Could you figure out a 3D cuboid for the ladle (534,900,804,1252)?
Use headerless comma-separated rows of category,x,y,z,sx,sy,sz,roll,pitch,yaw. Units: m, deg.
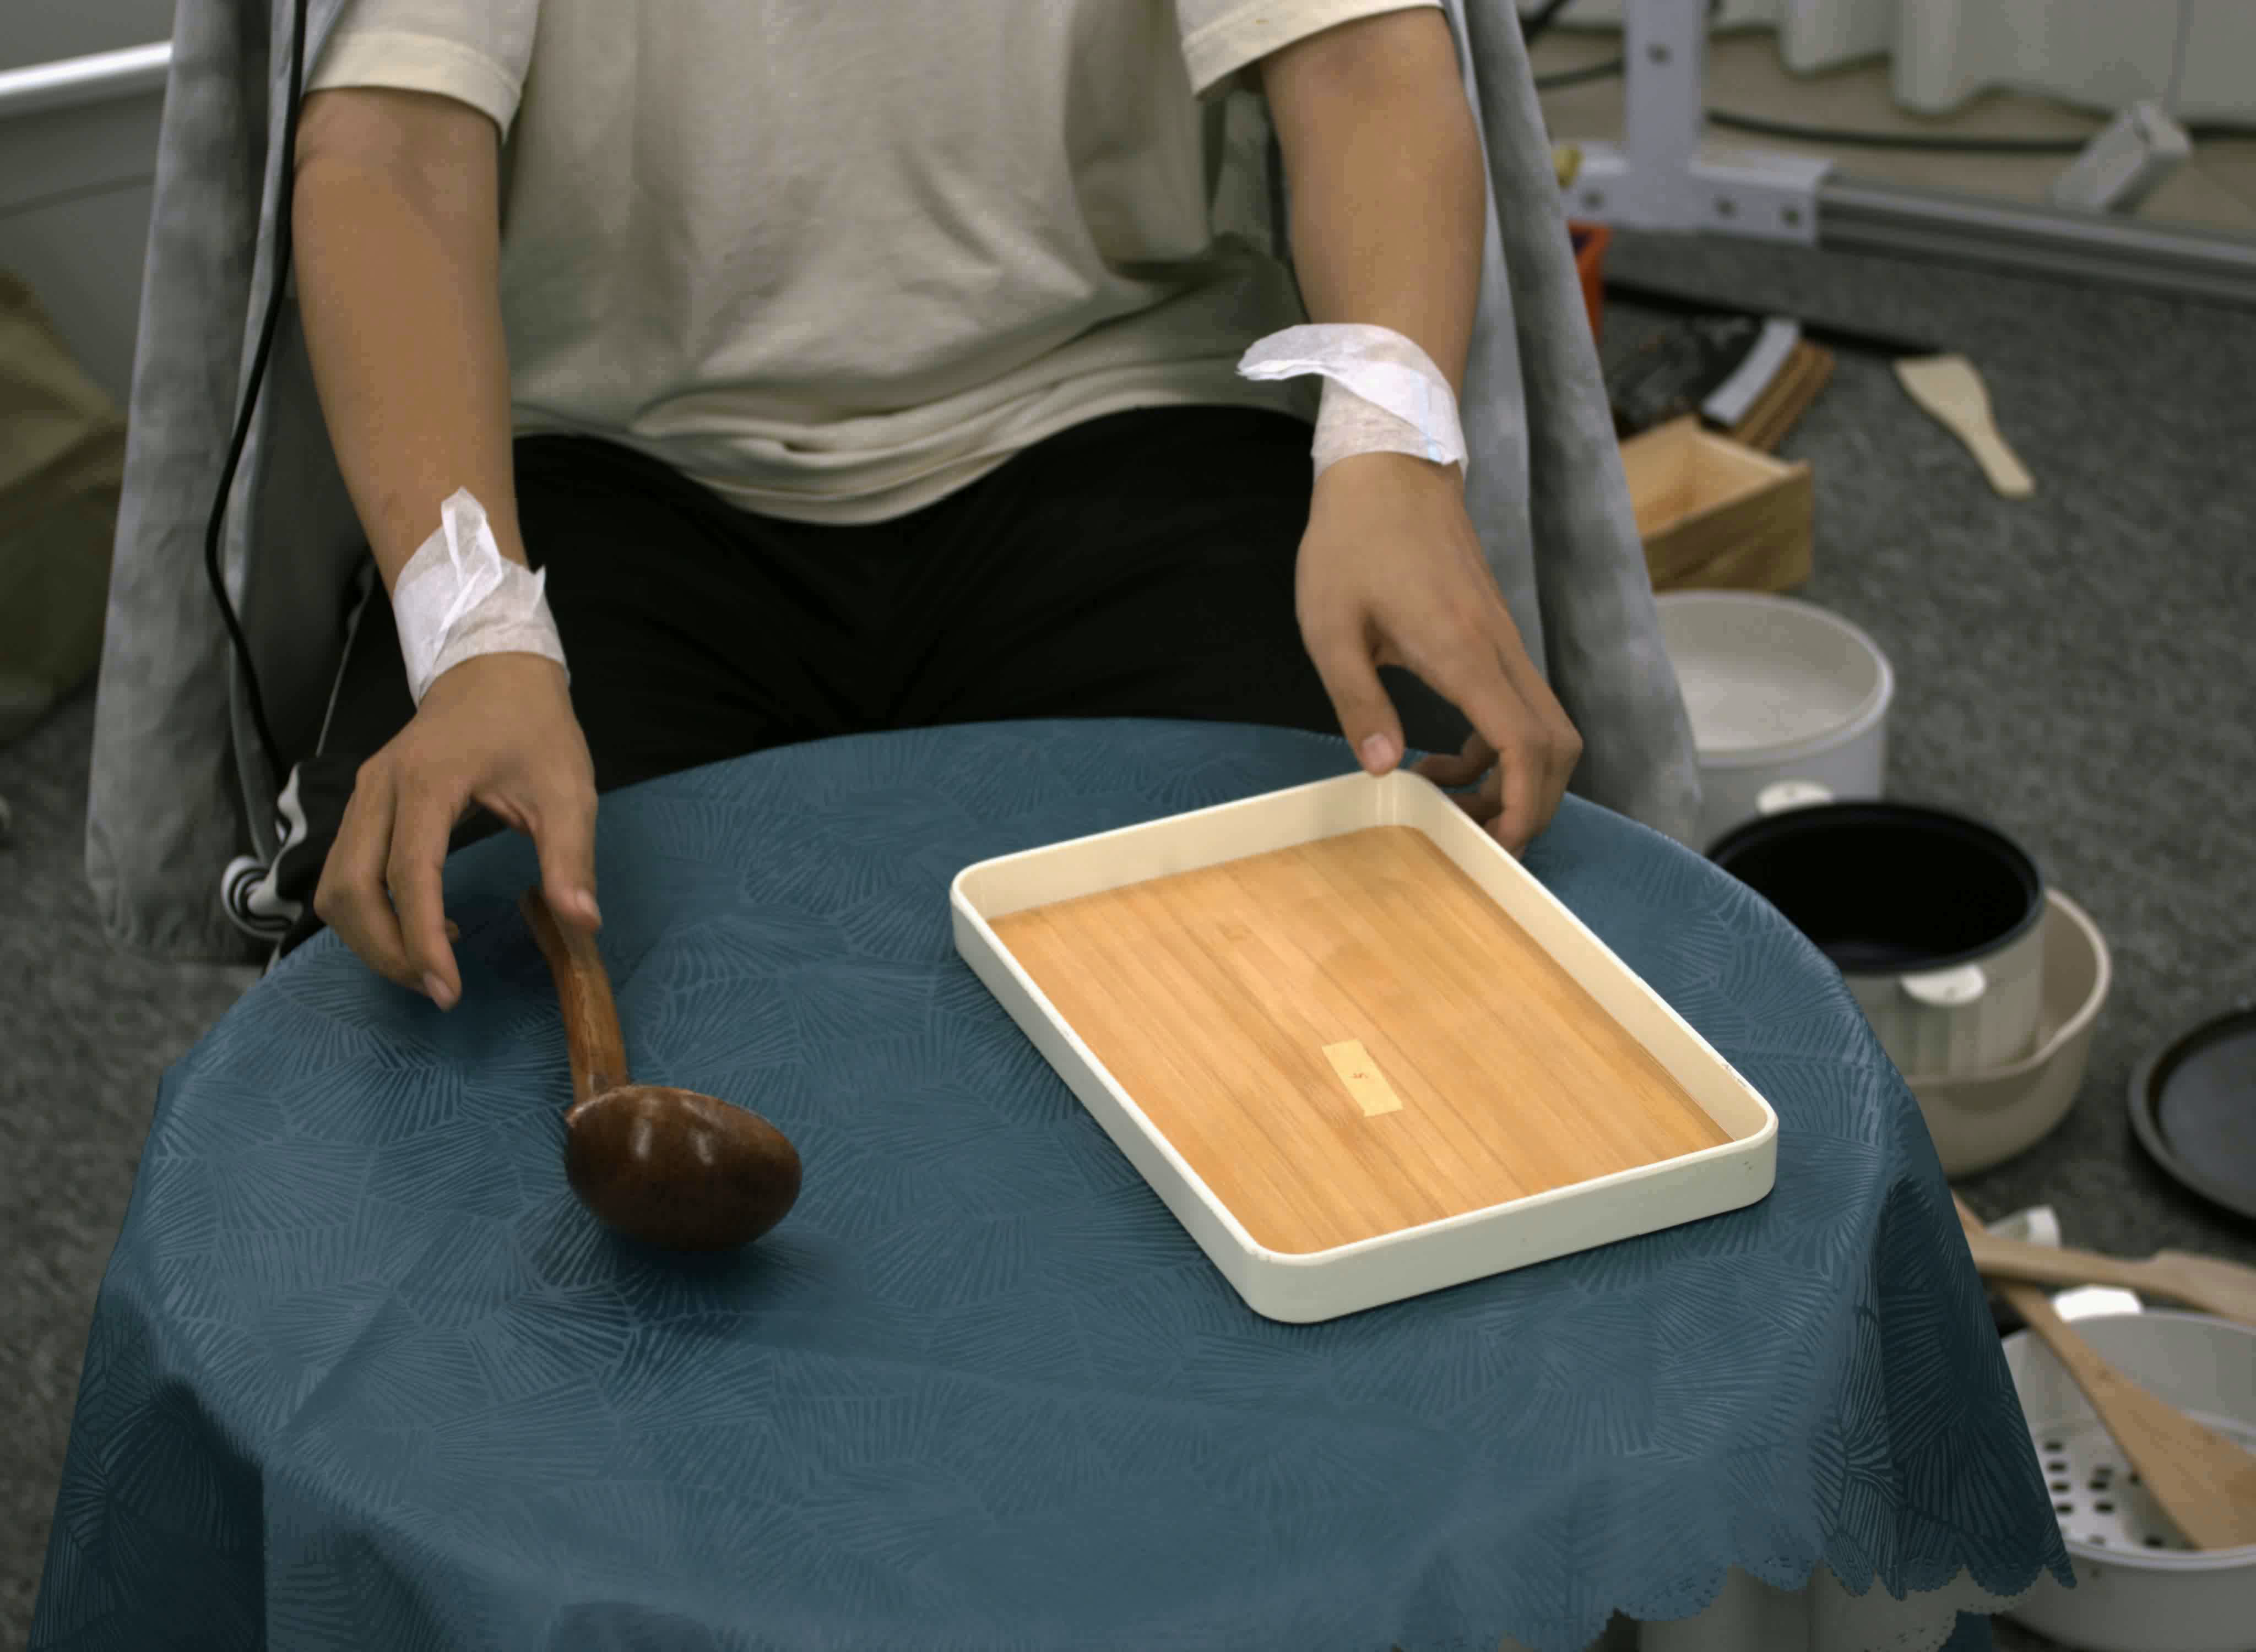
ladle,-0.166,0.065,1.911,0.081,0.076,0.277,33,15,-23

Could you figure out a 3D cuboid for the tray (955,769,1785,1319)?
tray,0.077,0.069,1.925,0.192,0.027,0.302,-13,29,-18
